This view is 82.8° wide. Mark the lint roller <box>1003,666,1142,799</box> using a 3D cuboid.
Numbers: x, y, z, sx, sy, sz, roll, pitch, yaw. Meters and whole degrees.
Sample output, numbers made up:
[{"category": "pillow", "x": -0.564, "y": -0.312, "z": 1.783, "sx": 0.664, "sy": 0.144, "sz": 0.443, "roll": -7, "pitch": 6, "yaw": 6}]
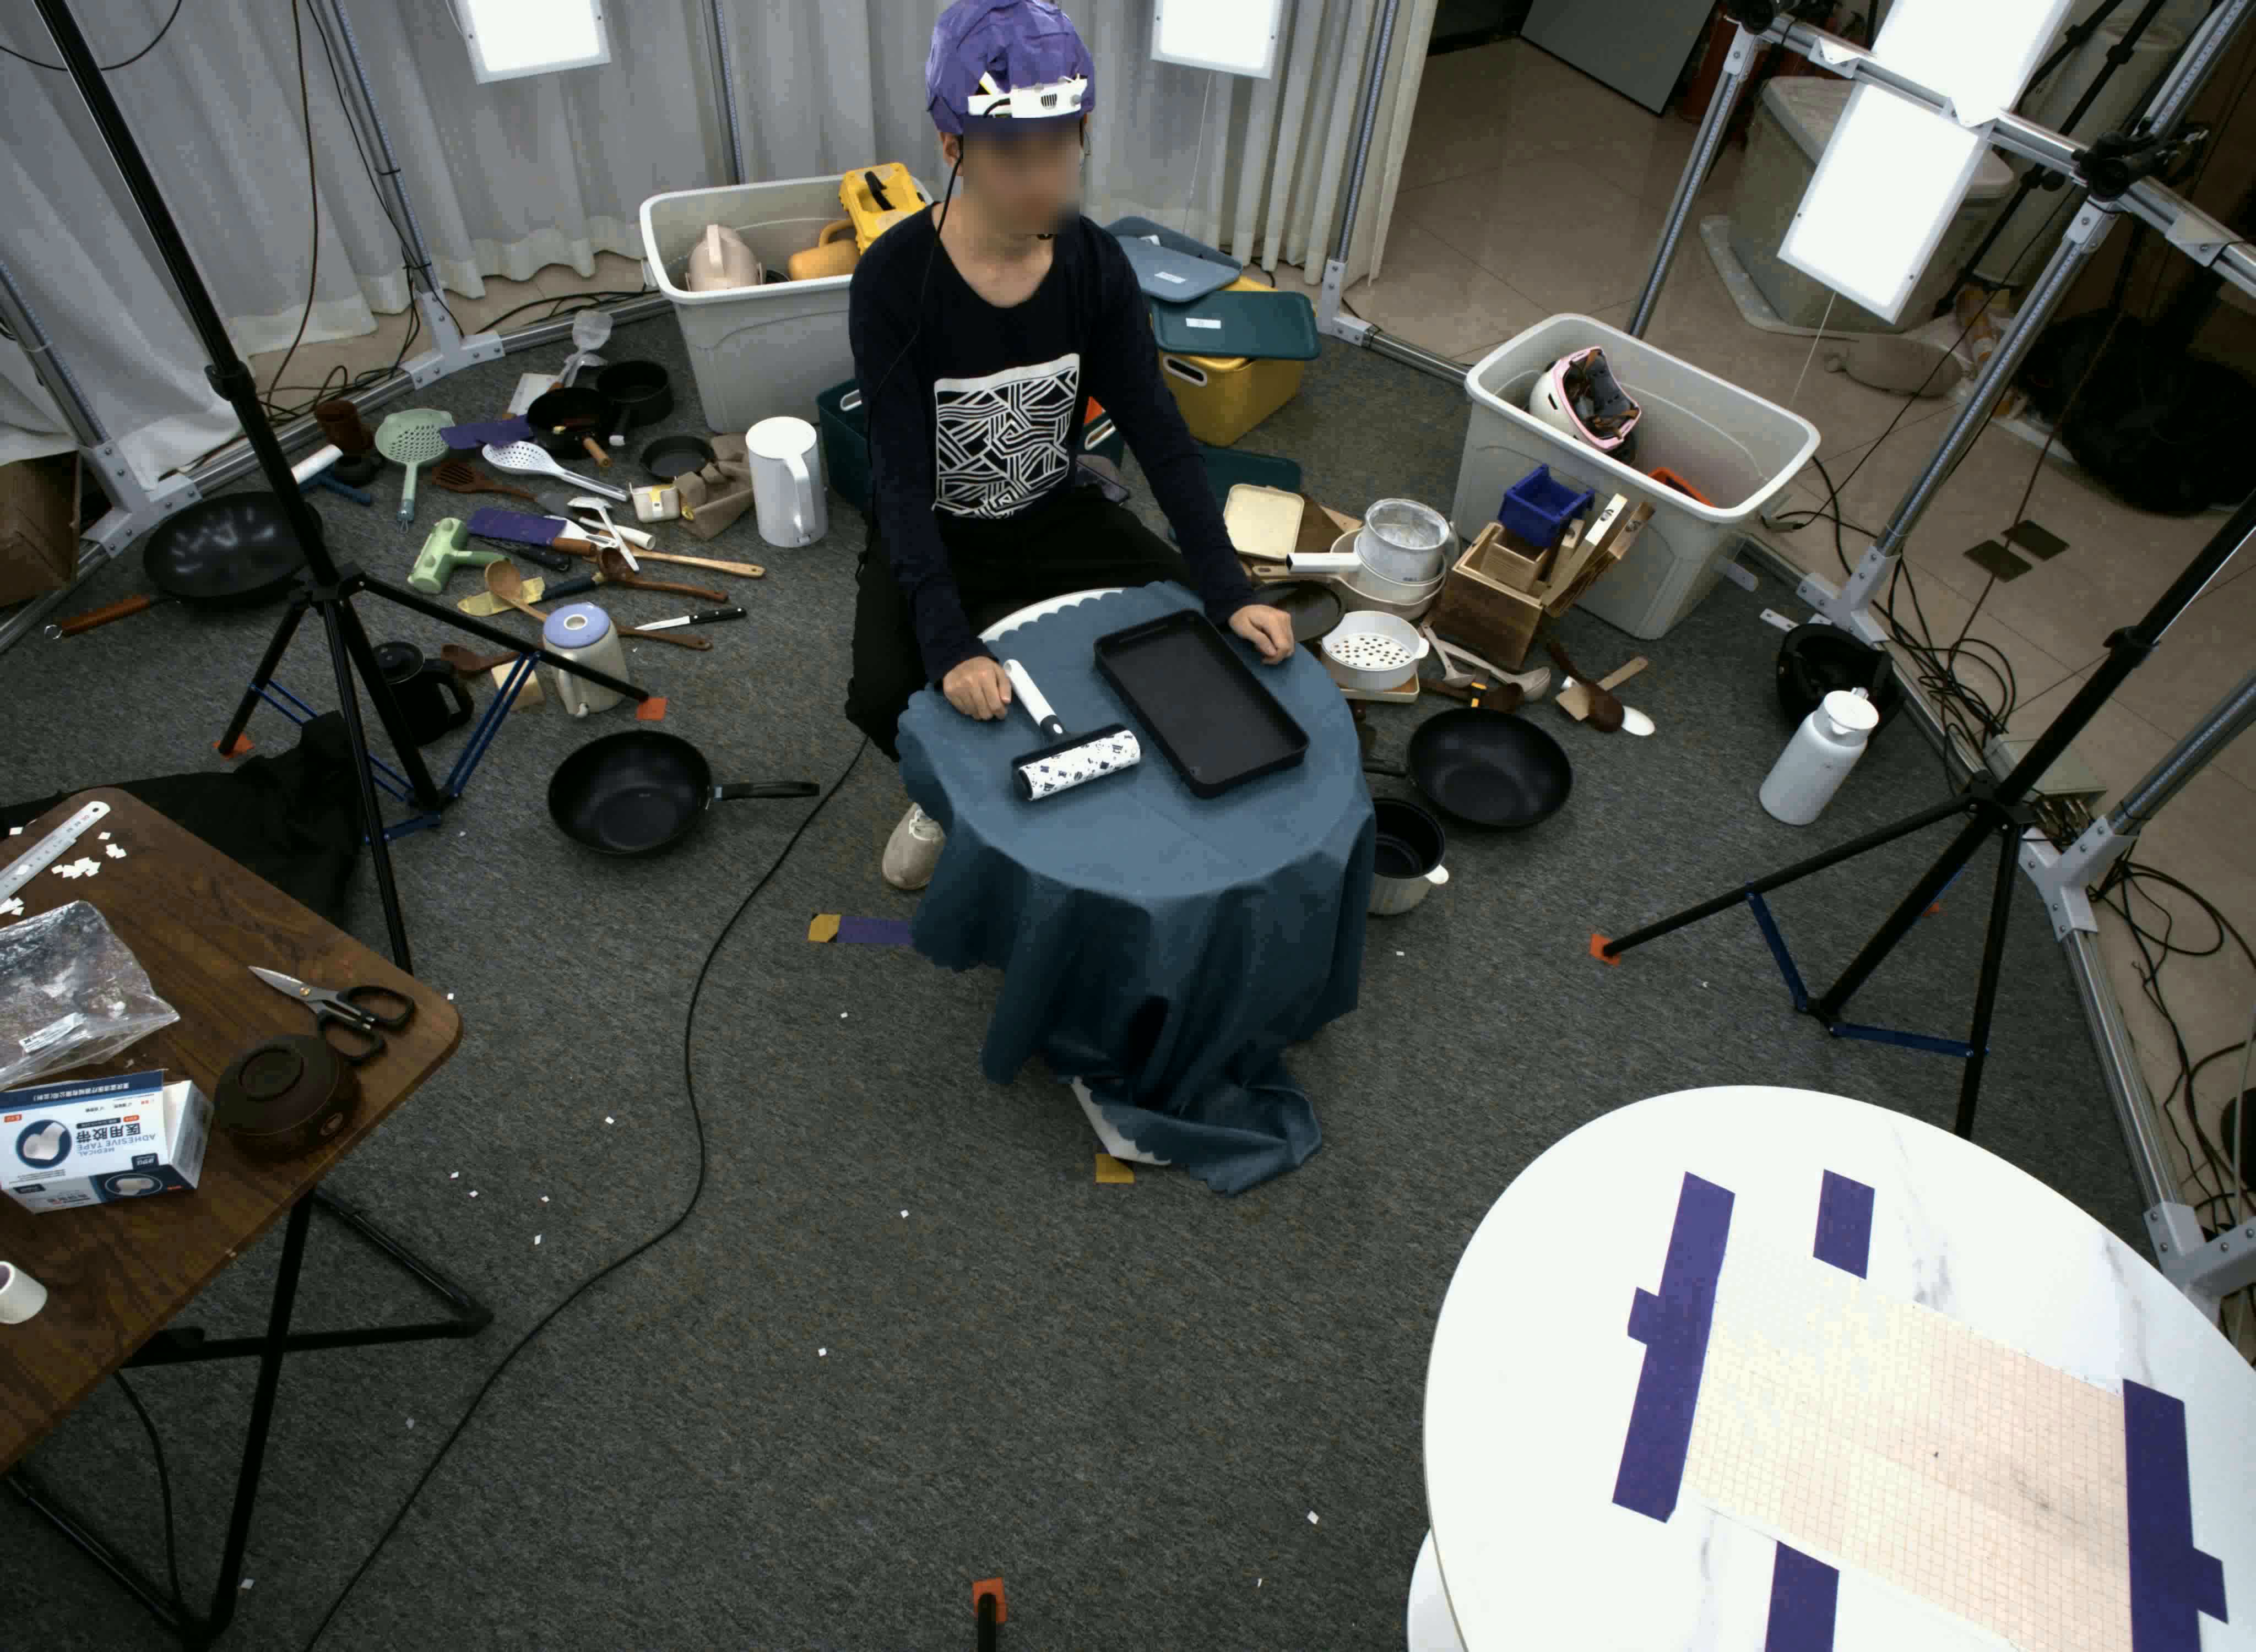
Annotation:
[{"category": "lint roller", "x": -0.114, "y": -0.149, "z": 1.763, "sx": 0.177, "sy": 0.049, "sz": 0.252, "roll": -21, "pitch": 51, "yaw": -20}]

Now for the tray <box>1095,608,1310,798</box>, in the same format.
[{"category": "tray", "x": 0.099, "y": -0.180, "z": 1.807, "sx": 0.185, "sy": 0.036, "sz": 0.325, "roll": -20, "pitch": 53, "yaw": -20}]
